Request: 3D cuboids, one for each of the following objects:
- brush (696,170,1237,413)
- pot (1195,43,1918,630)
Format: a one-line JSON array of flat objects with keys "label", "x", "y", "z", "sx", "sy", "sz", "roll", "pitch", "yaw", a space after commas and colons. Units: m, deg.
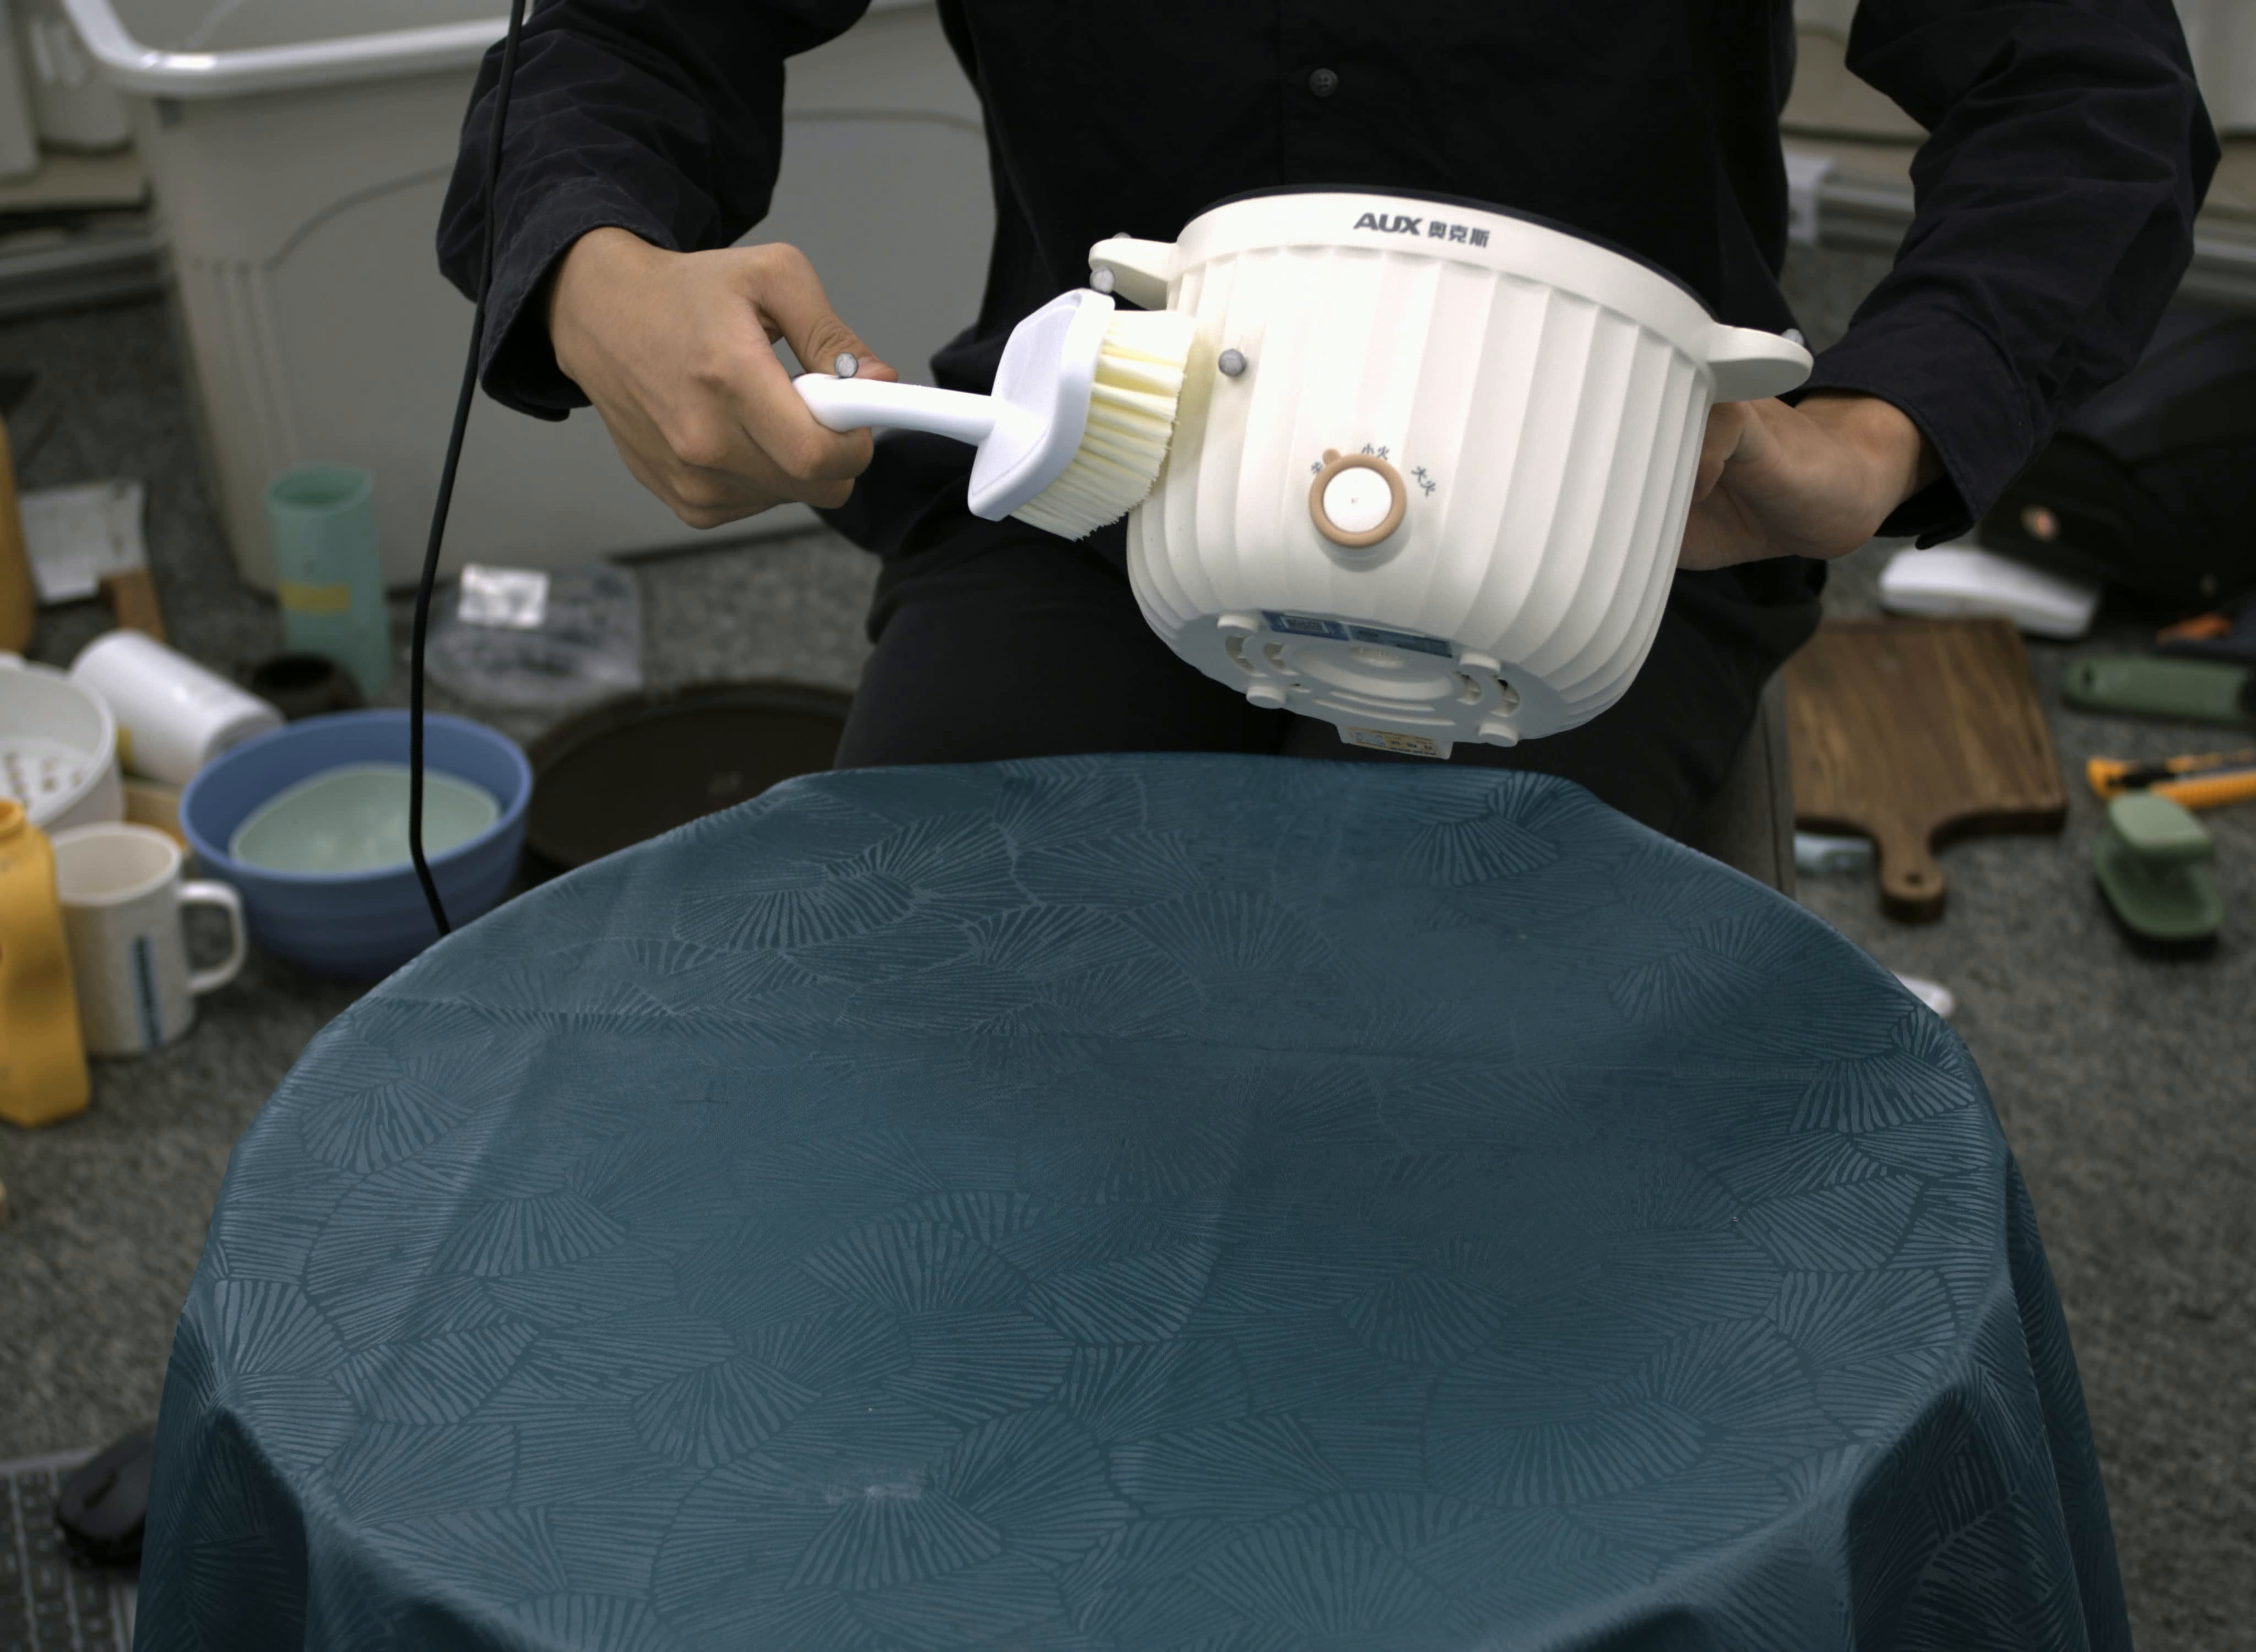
[{"label": "brush", "x": -0.041, "y": -0.174, "z": 1.911, "sx": 0.084, "sy": 0.084, "sz": 0.322, "roll": -44, "pitch": 17, "yaw": -23}, {"label": "pot", "x": 0.126, "y": -0.155, "z": 1.822, "sx": 0.239, "sy": 0.188, "sz": 0.145, "roll": 9, "pitch": 72, "yaw": 9}]
